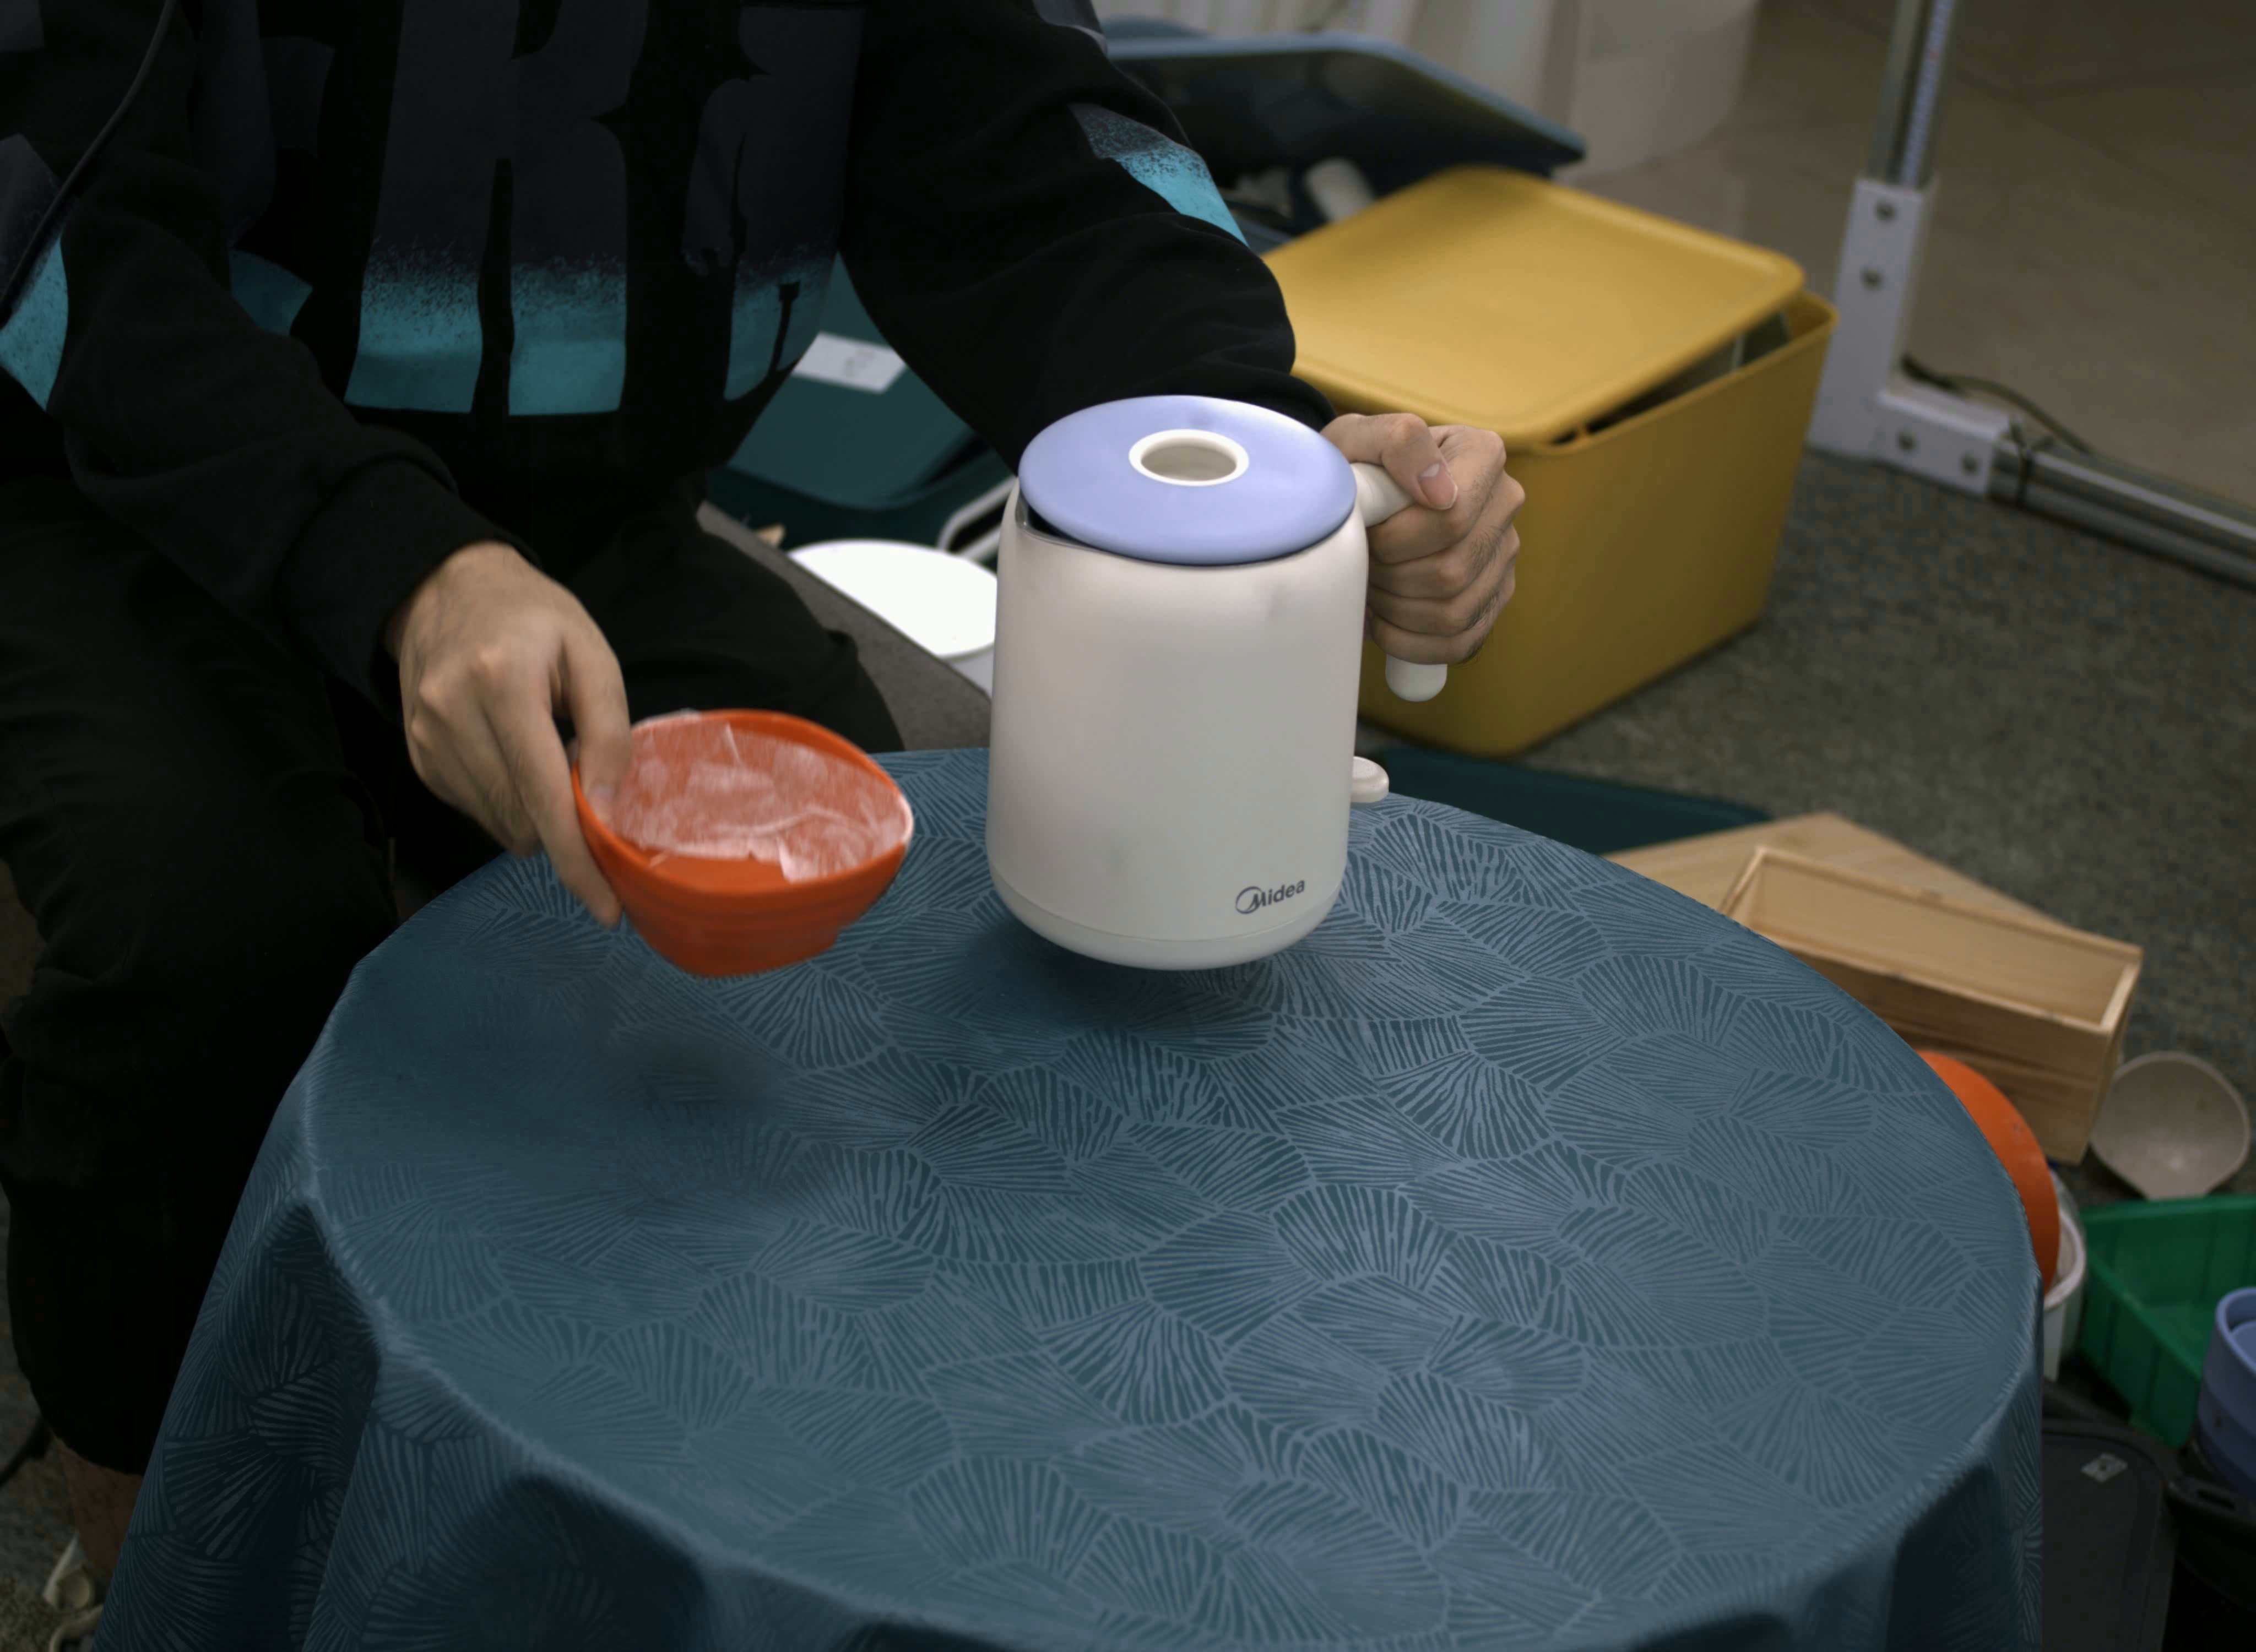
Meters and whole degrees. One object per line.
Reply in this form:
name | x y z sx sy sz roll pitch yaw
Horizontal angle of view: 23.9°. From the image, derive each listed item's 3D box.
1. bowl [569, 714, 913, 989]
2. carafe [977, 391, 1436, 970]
bowl | -0.134 0.014 1.814 0.118 0.051 0.120 6 34 -4
carafe | 0.035 -0.058 1.905 0.190 0.182 0.133 -15 36 -32
